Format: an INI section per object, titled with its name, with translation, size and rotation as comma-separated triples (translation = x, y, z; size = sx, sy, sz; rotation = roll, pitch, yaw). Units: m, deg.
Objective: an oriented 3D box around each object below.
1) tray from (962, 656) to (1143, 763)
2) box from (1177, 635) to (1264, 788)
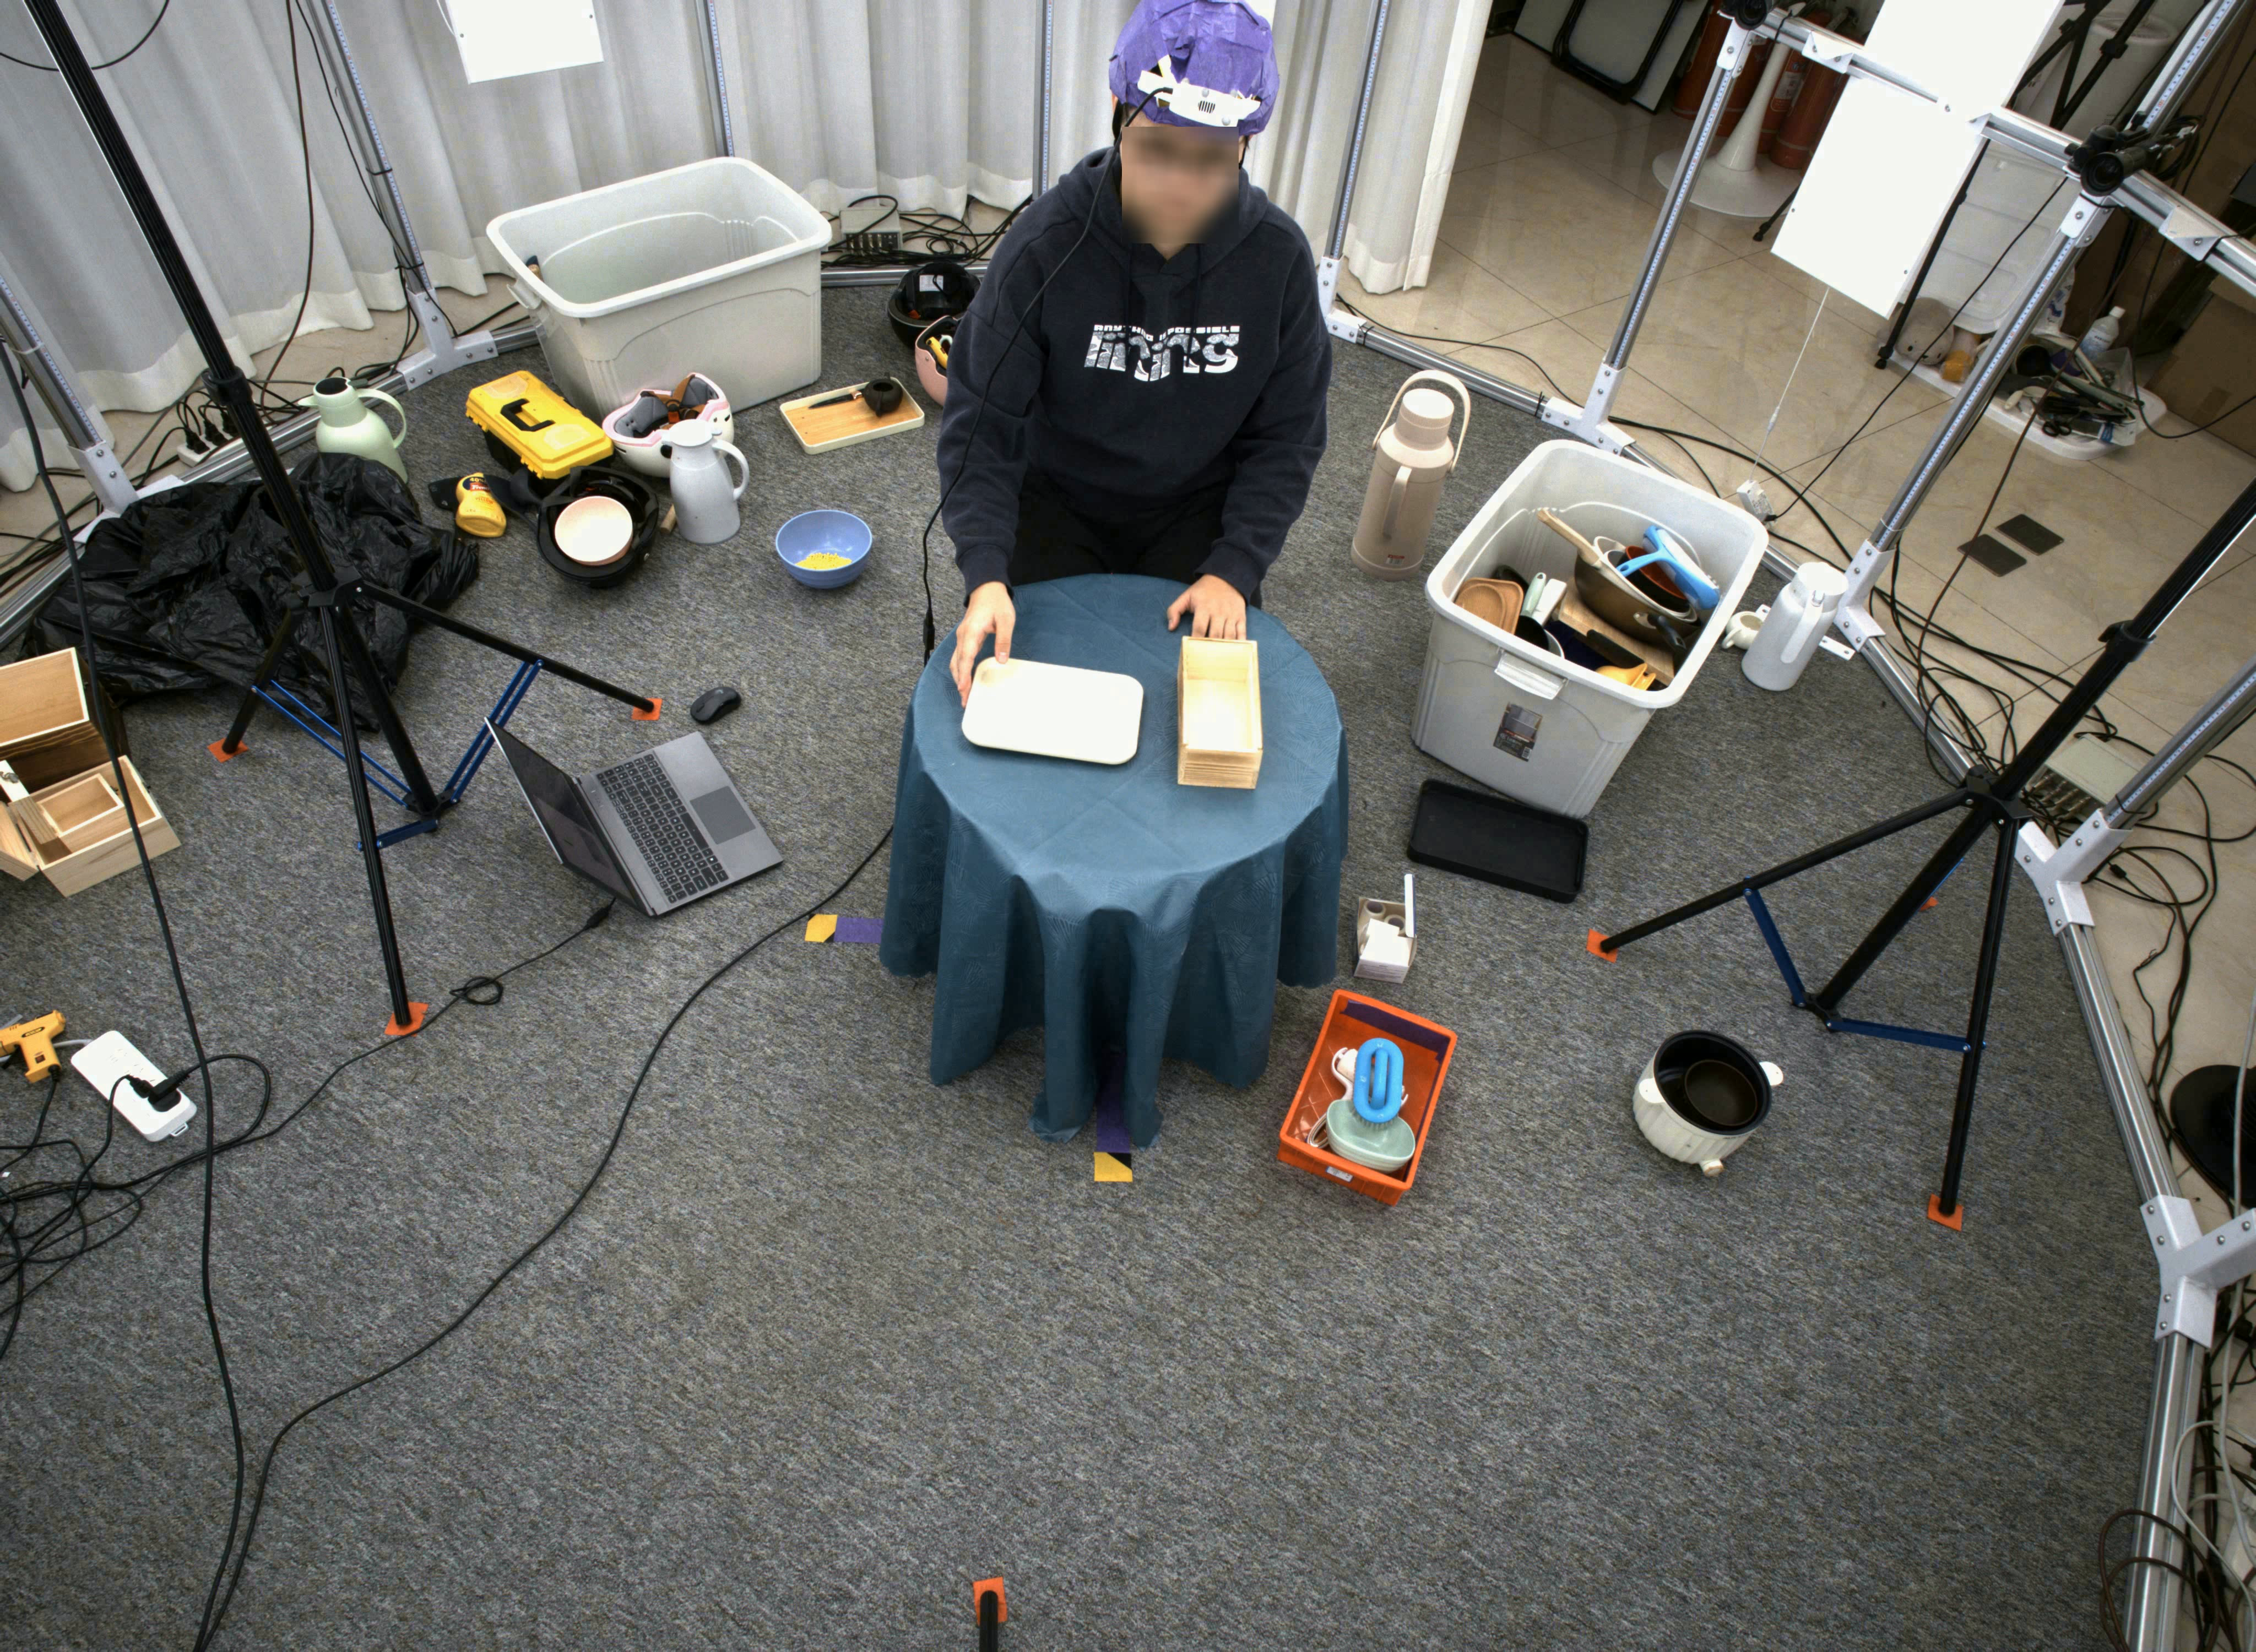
[tray]
translation = -0.102, -0.161, 1.780
size = 0.239, 0.017, 0.175
rotation = 8, 48, 0
[box]
translation = 0.125, -0.159, 1.762
size = 0.107, 0.078, 0.217
rotation = 3, 49, -2
